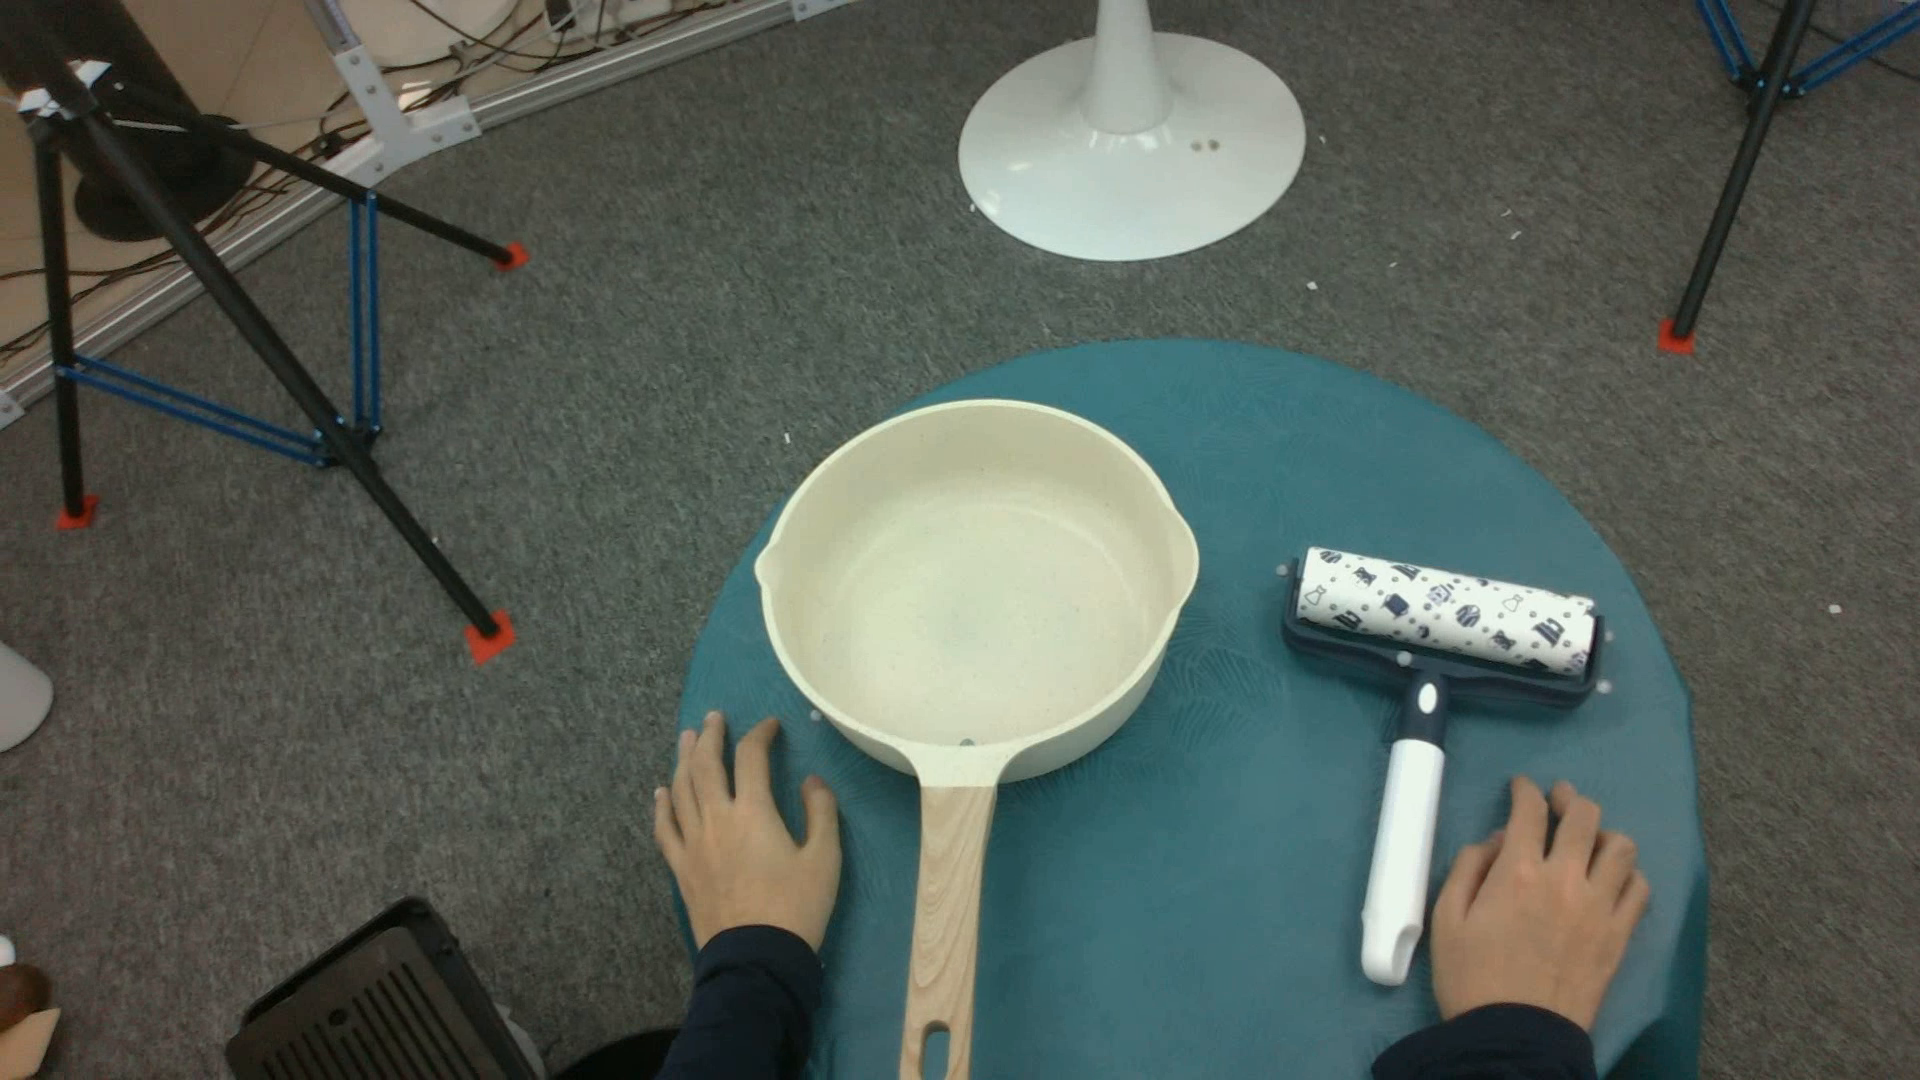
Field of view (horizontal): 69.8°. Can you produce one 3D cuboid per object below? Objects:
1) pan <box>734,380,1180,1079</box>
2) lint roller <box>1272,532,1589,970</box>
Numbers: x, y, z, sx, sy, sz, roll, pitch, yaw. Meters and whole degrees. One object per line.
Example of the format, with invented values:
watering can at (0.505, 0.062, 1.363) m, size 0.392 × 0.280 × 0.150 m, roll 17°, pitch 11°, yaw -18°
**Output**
pan at (-0.004, 0.096, 0.780) m, size 0.263 × 0.101 × 0.437 m, roll -1°, pitch 55°, yaw 5°
lint roller at (0.249, 0.116, 0.770) m, size 0.176 × 0.050 × 0.248 m, roll 12°, pitch 59°, yaw 14°
